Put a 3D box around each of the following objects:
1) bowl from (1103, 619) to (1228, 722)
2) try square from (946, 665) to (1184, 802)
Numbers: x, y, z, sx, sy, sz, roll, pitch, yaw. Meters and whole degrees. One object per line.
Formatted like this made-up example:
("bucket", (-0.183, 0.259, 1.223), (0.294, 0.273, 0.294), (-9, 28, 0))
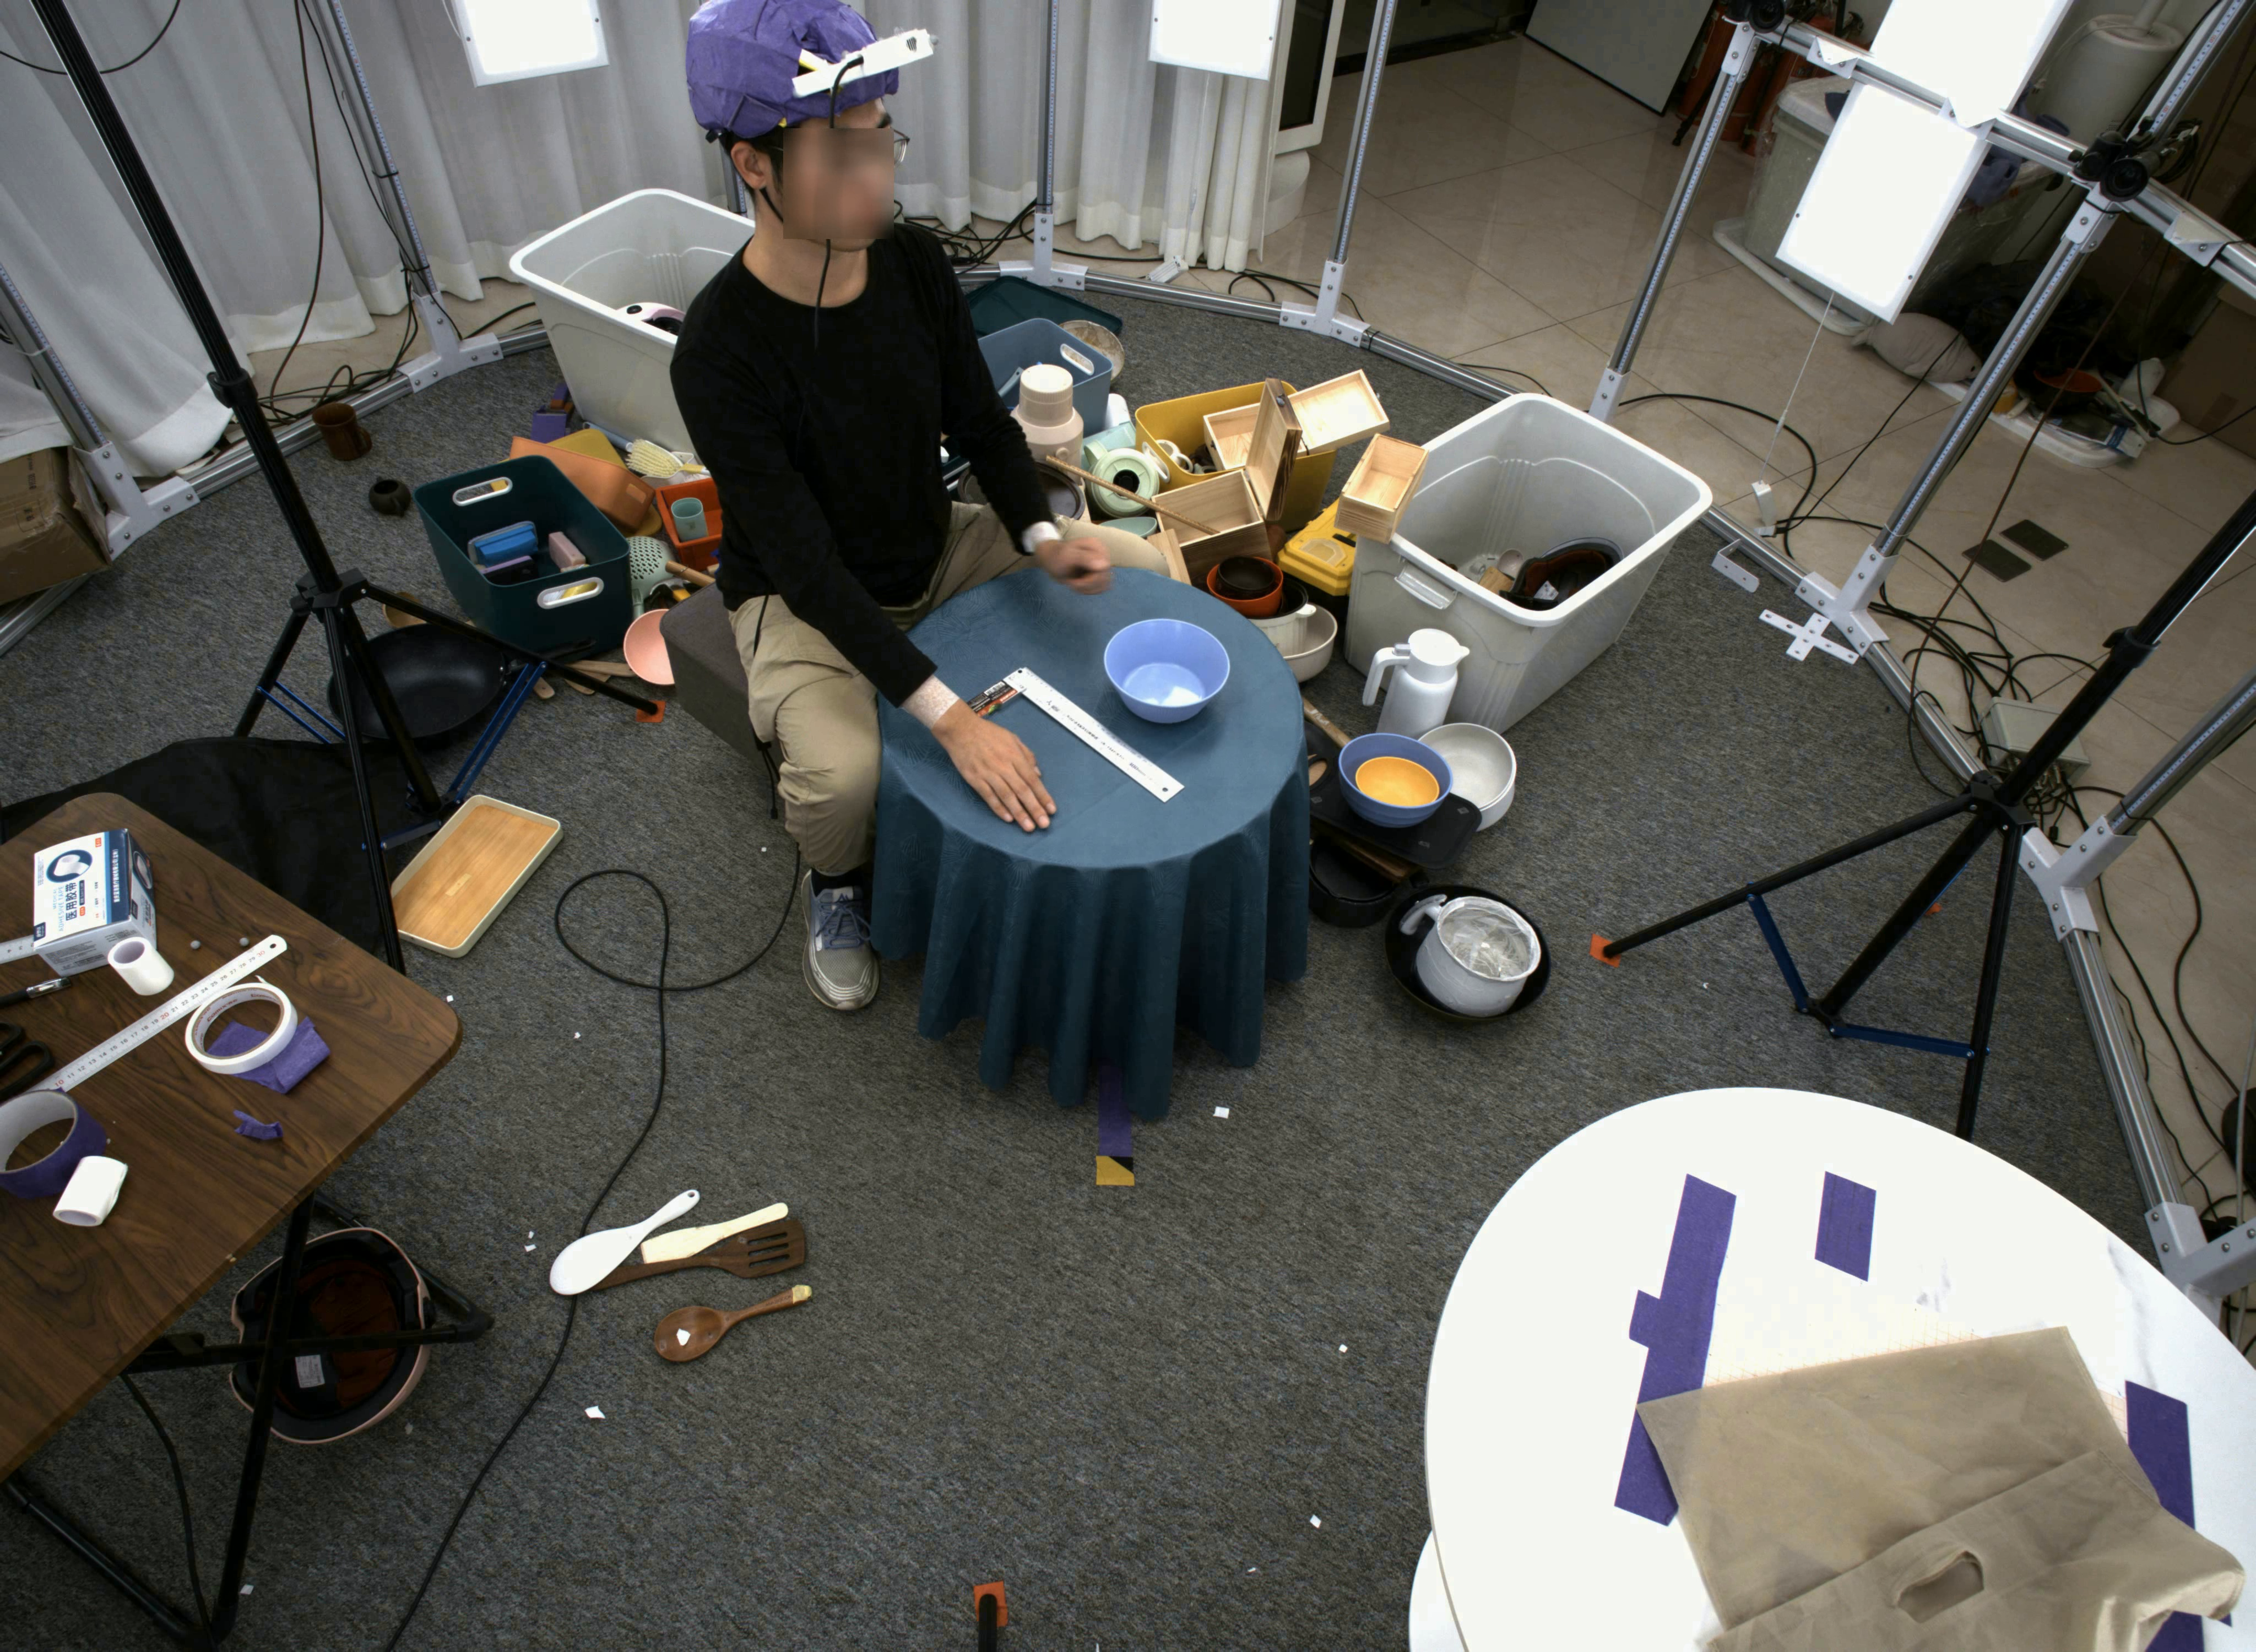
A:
("bowl", (0.051, -0.211, 1.811), (0.176, 0.068, 0.180), (2, 50, -2))
("try square", (-0.088, -0.102, 1.750), (0.317, 0.015, 0.154), (38, 60, 25))
